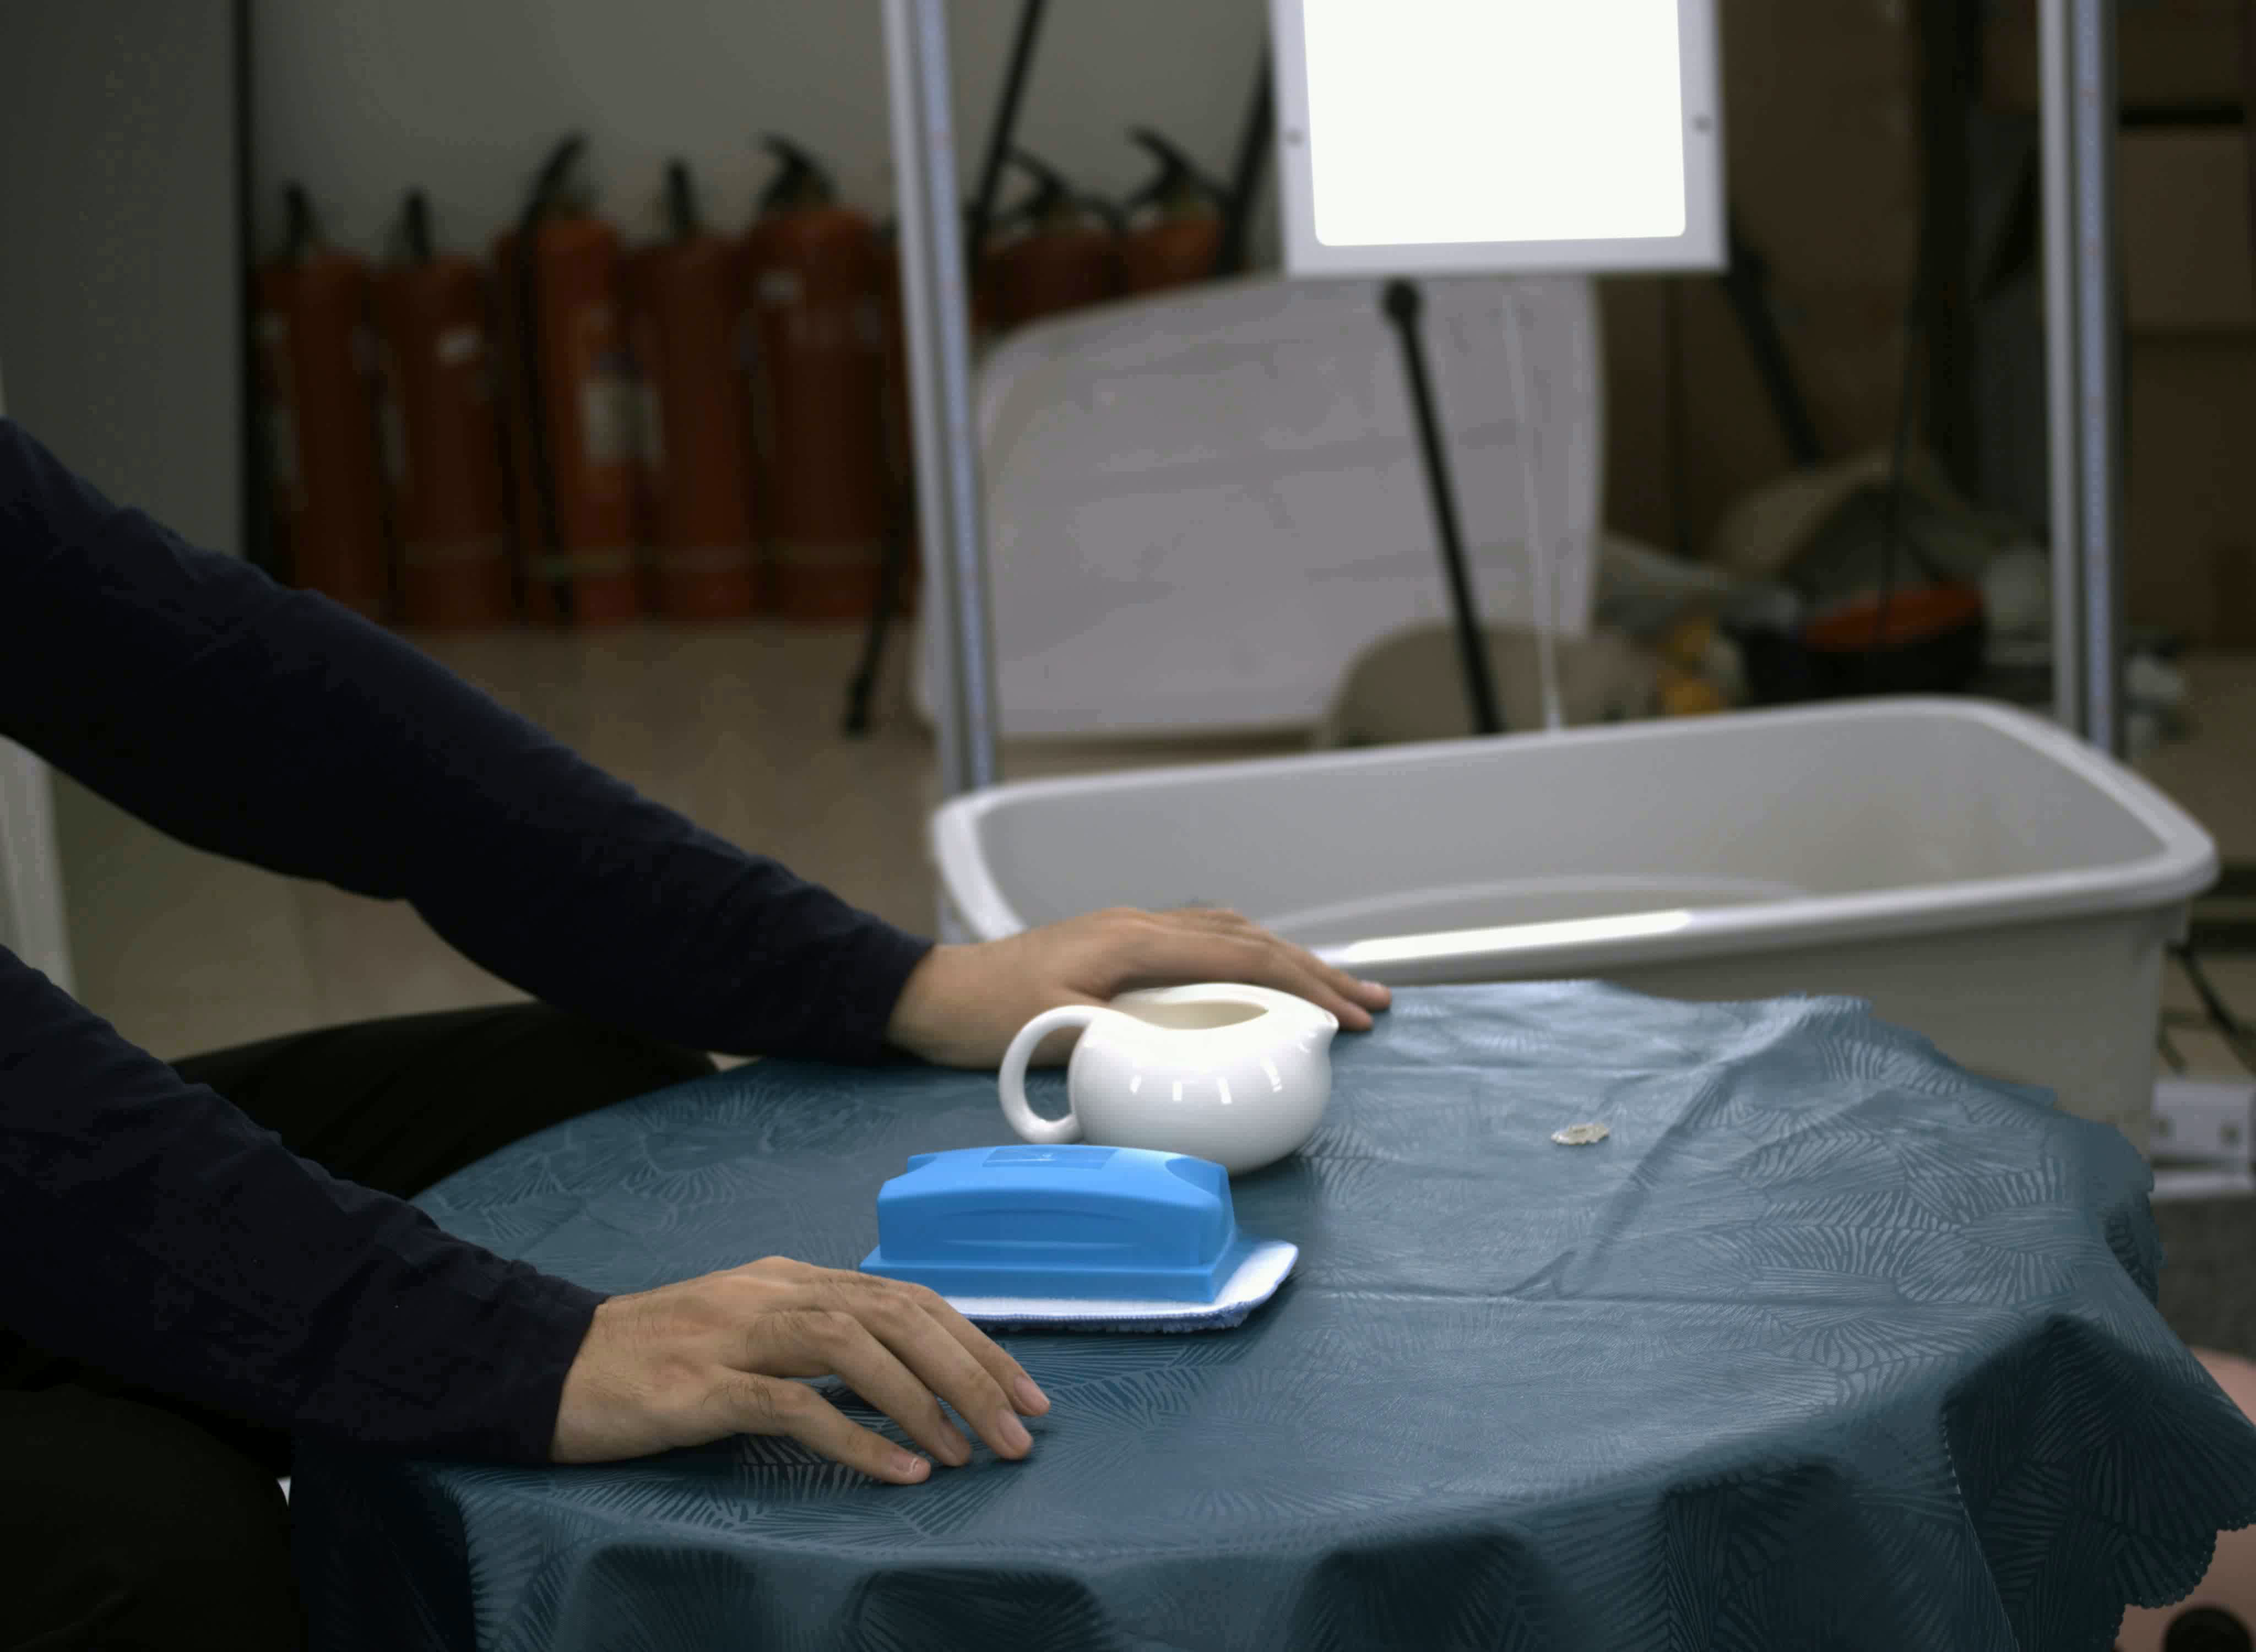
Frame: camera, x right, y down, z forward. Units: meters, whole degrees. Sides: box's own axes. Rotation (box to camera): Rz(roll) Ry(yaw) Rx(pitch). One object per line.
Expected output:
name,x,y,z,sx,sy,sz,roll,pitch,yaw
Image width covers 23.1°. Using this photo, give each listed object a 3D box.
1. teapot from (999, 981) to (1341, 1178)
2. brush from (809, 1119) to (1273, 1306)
teapot,0.015,0.090,1.930,0.128,0.057,0.092,-2,17,15
brush,-0.028,0.125,1.786,0.146,0.056,0.082,2,12,20
